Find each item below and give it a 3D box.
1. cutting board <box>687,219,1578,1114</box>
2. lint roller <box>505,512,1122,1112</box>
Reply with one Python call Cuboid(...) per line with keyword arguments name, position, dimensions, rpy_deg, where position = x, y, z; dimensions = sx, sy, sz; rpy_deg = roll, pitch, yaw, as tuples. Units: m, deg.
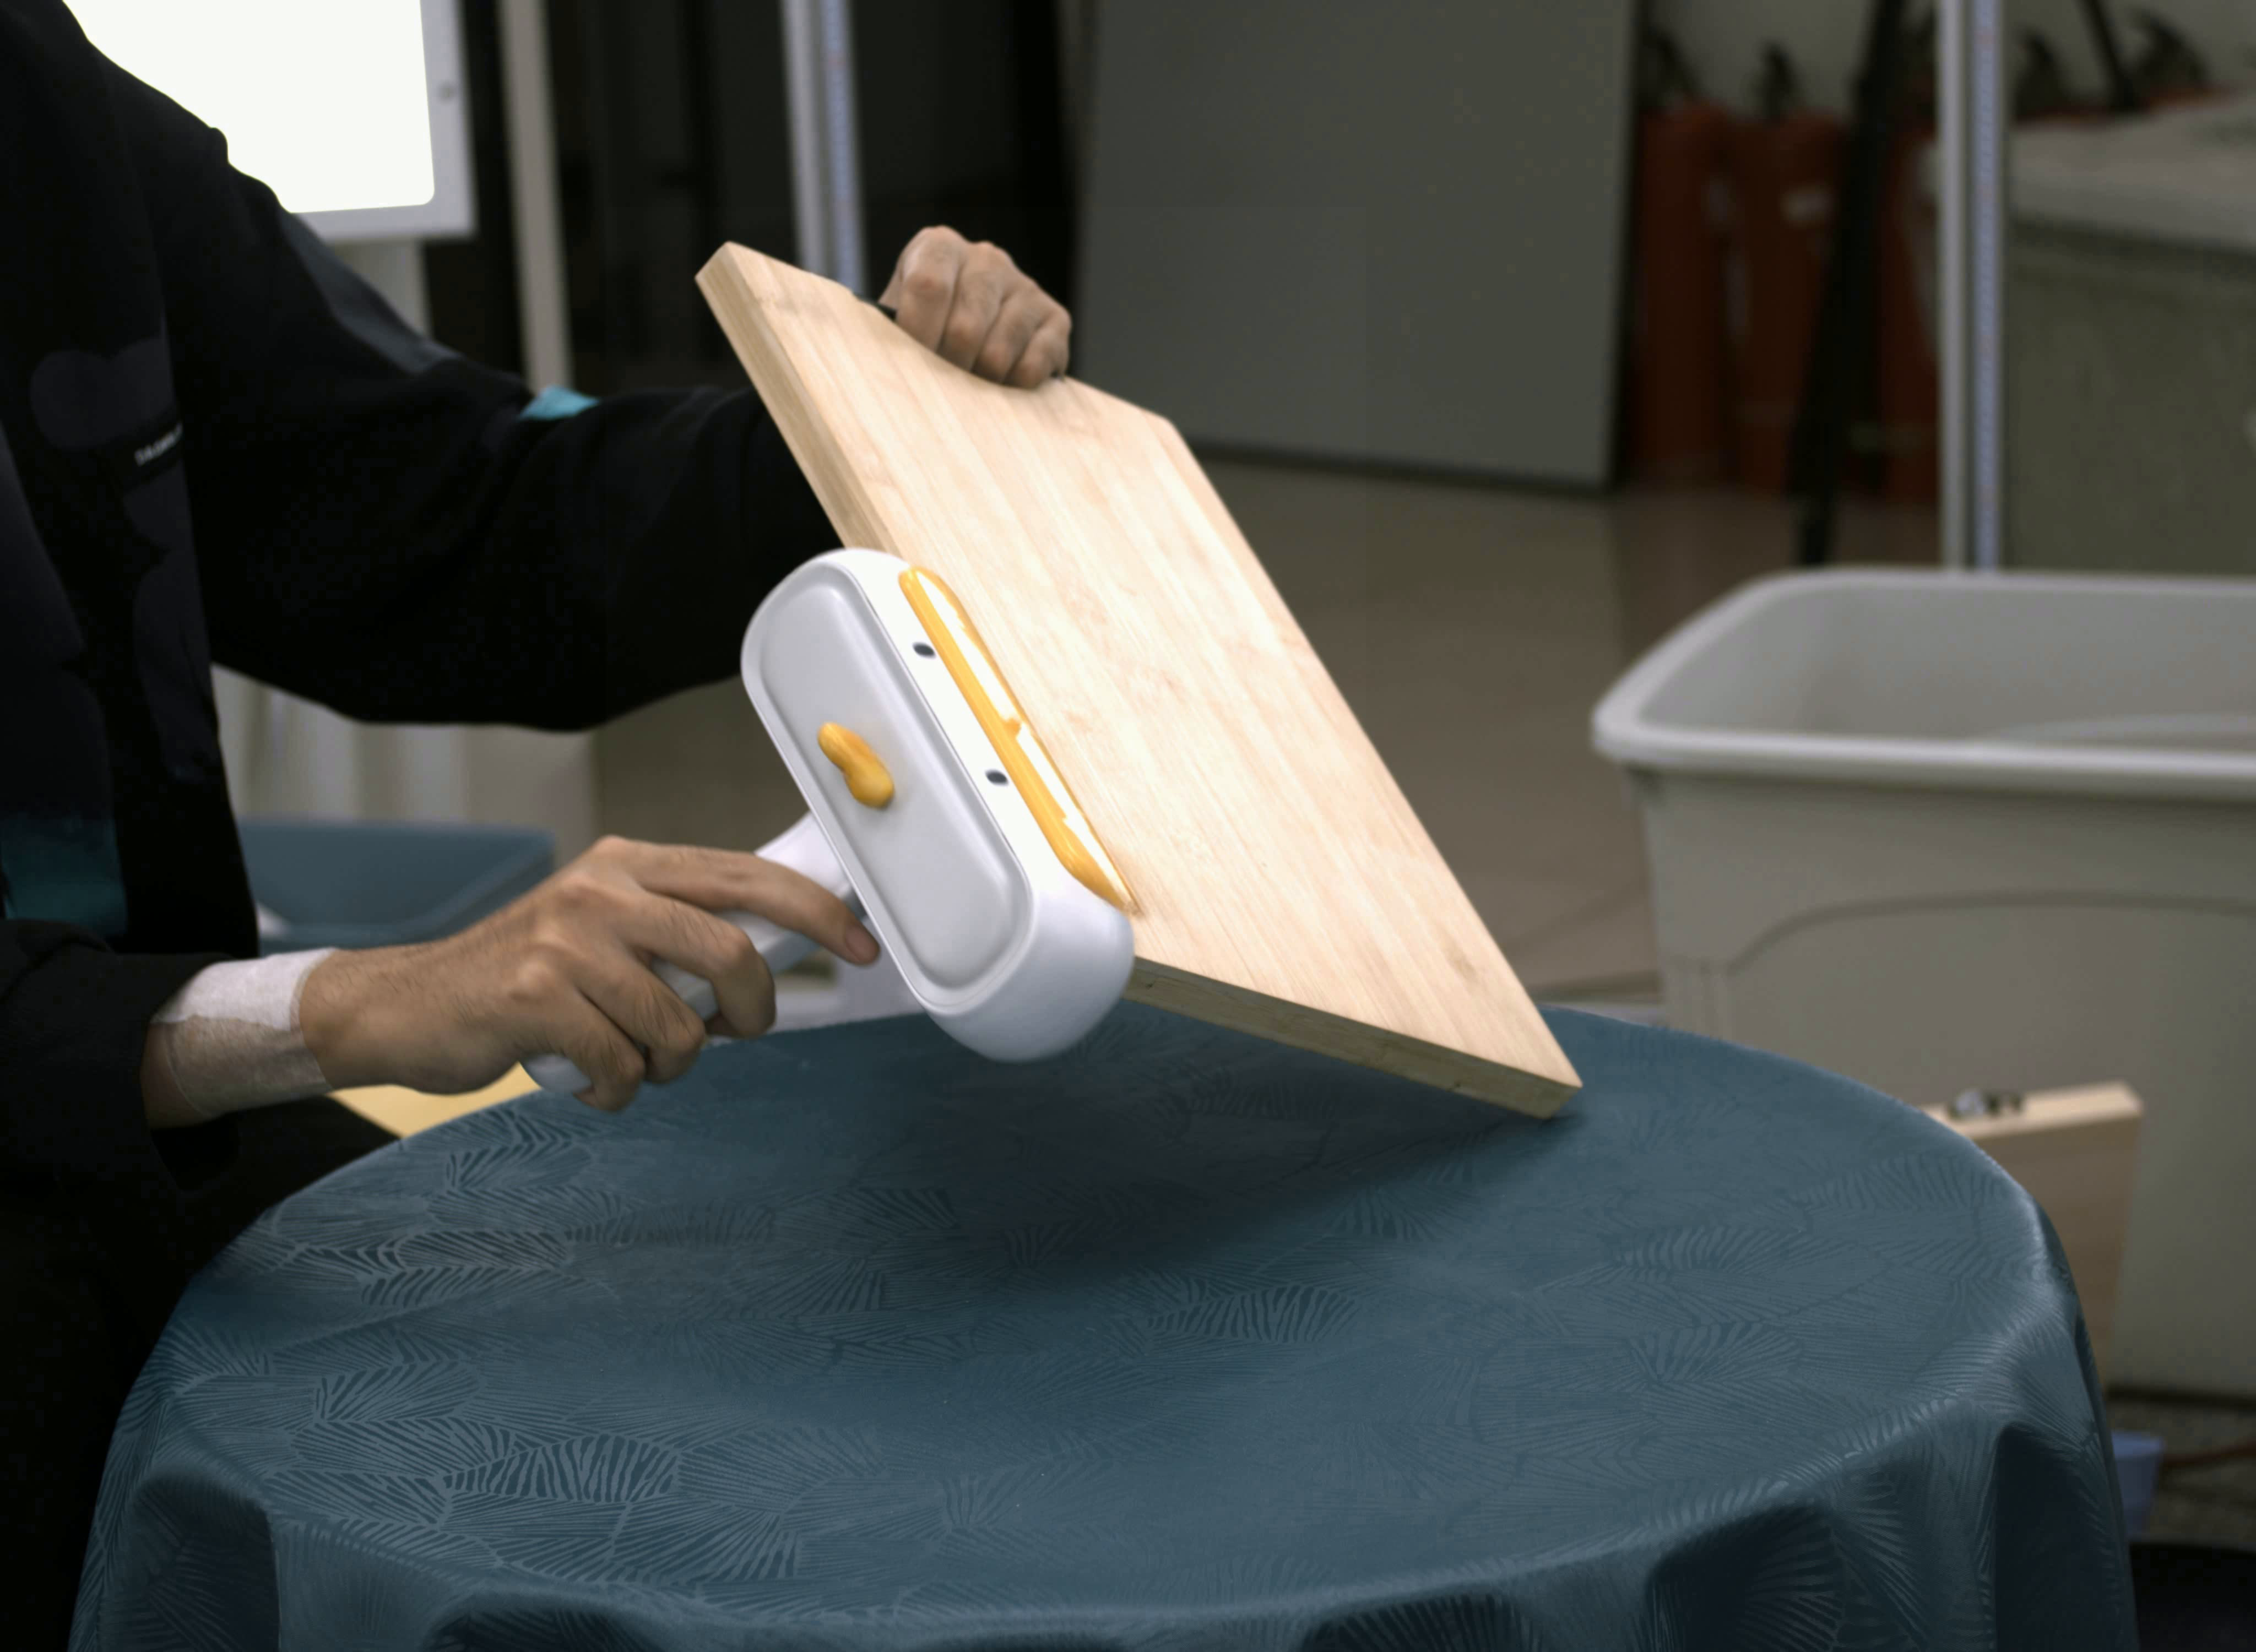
Cuboid(name="cutting board", position=(0.000, -0.054, 1.836), dimensions=(0.245, 0.024, 0.353), rpy_deg=(19, 32, -46))
Cuboid(name="lint roller", position=(-0.111, 0.019, 1.689), dimensions=(0.073, 0.193, 0.195), rpy_deg=(30, 20, -54))
